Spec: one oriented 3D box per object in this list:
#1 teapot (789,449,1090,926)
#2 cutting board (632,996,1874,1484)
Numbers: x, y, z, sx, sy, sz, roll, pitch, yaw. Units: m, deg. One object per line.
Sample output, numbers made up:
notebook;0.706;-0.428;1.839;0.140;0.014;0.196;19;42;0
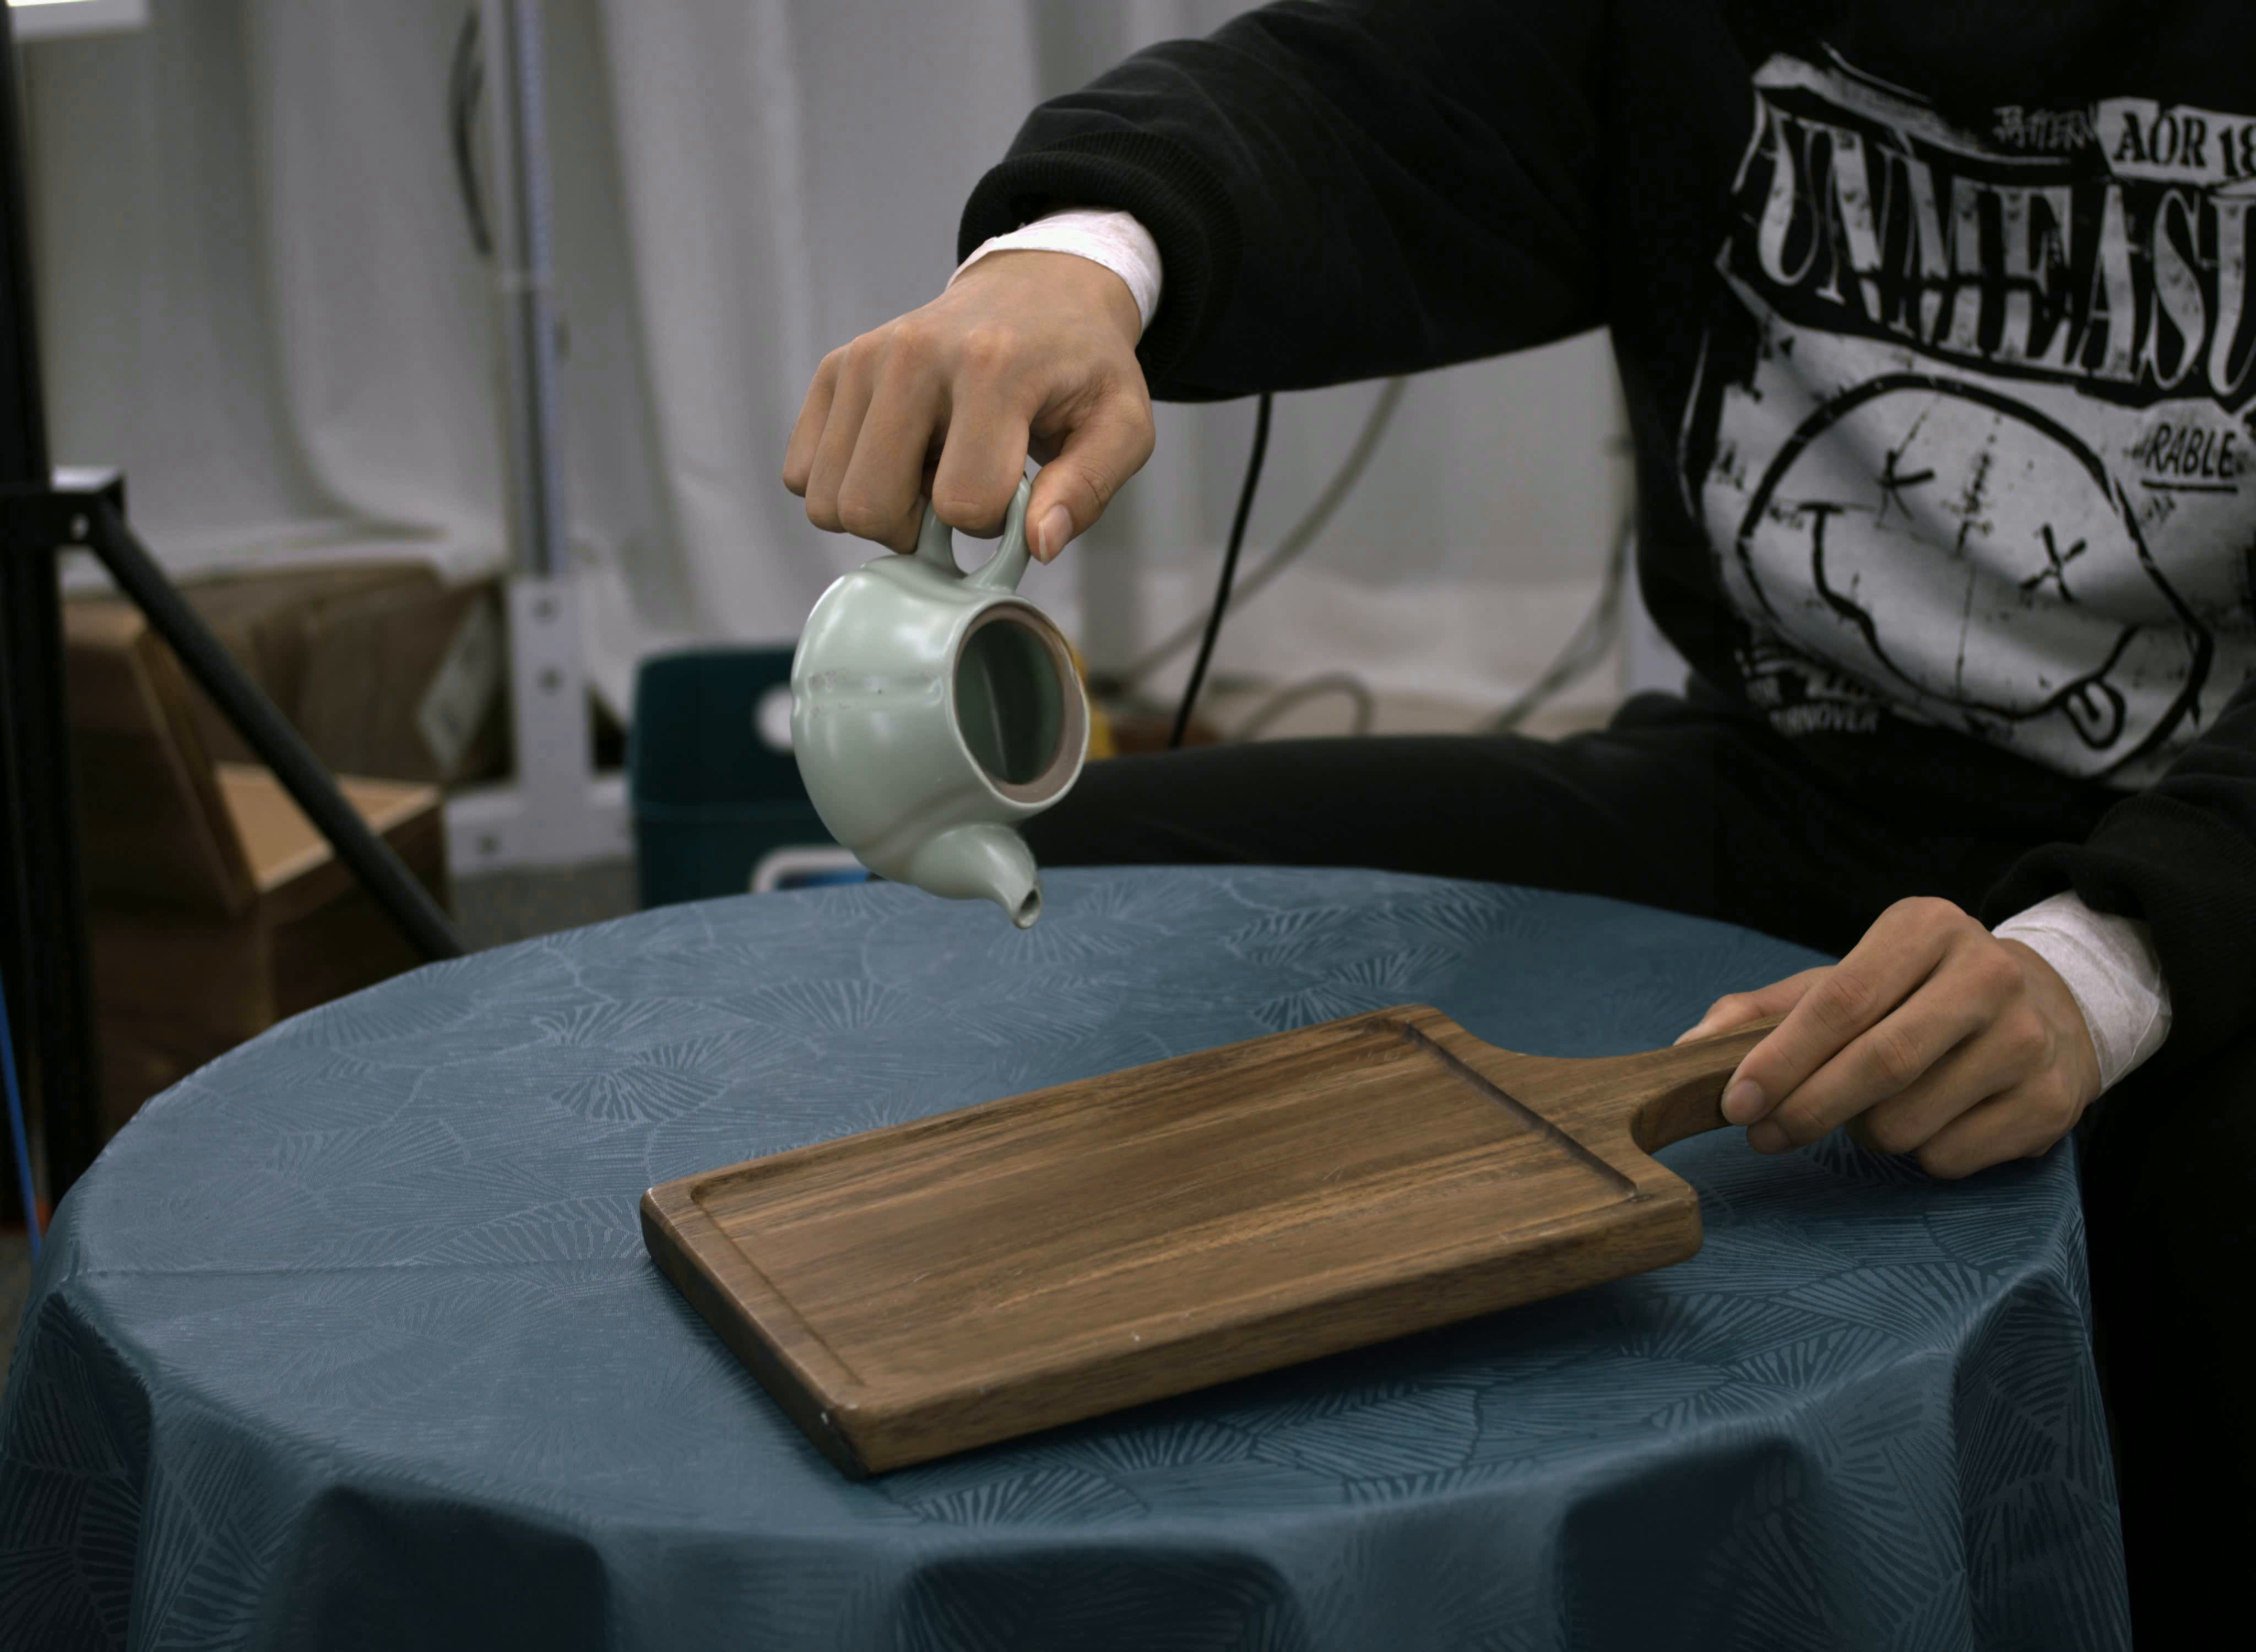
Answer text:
teapot;-0.051;-0.037;1.513;0.062;0.138;0.093;-9;-11;40
cutting board;0.054;0.099;1.485;0.346;0.023;0.204;-13;19;-17
